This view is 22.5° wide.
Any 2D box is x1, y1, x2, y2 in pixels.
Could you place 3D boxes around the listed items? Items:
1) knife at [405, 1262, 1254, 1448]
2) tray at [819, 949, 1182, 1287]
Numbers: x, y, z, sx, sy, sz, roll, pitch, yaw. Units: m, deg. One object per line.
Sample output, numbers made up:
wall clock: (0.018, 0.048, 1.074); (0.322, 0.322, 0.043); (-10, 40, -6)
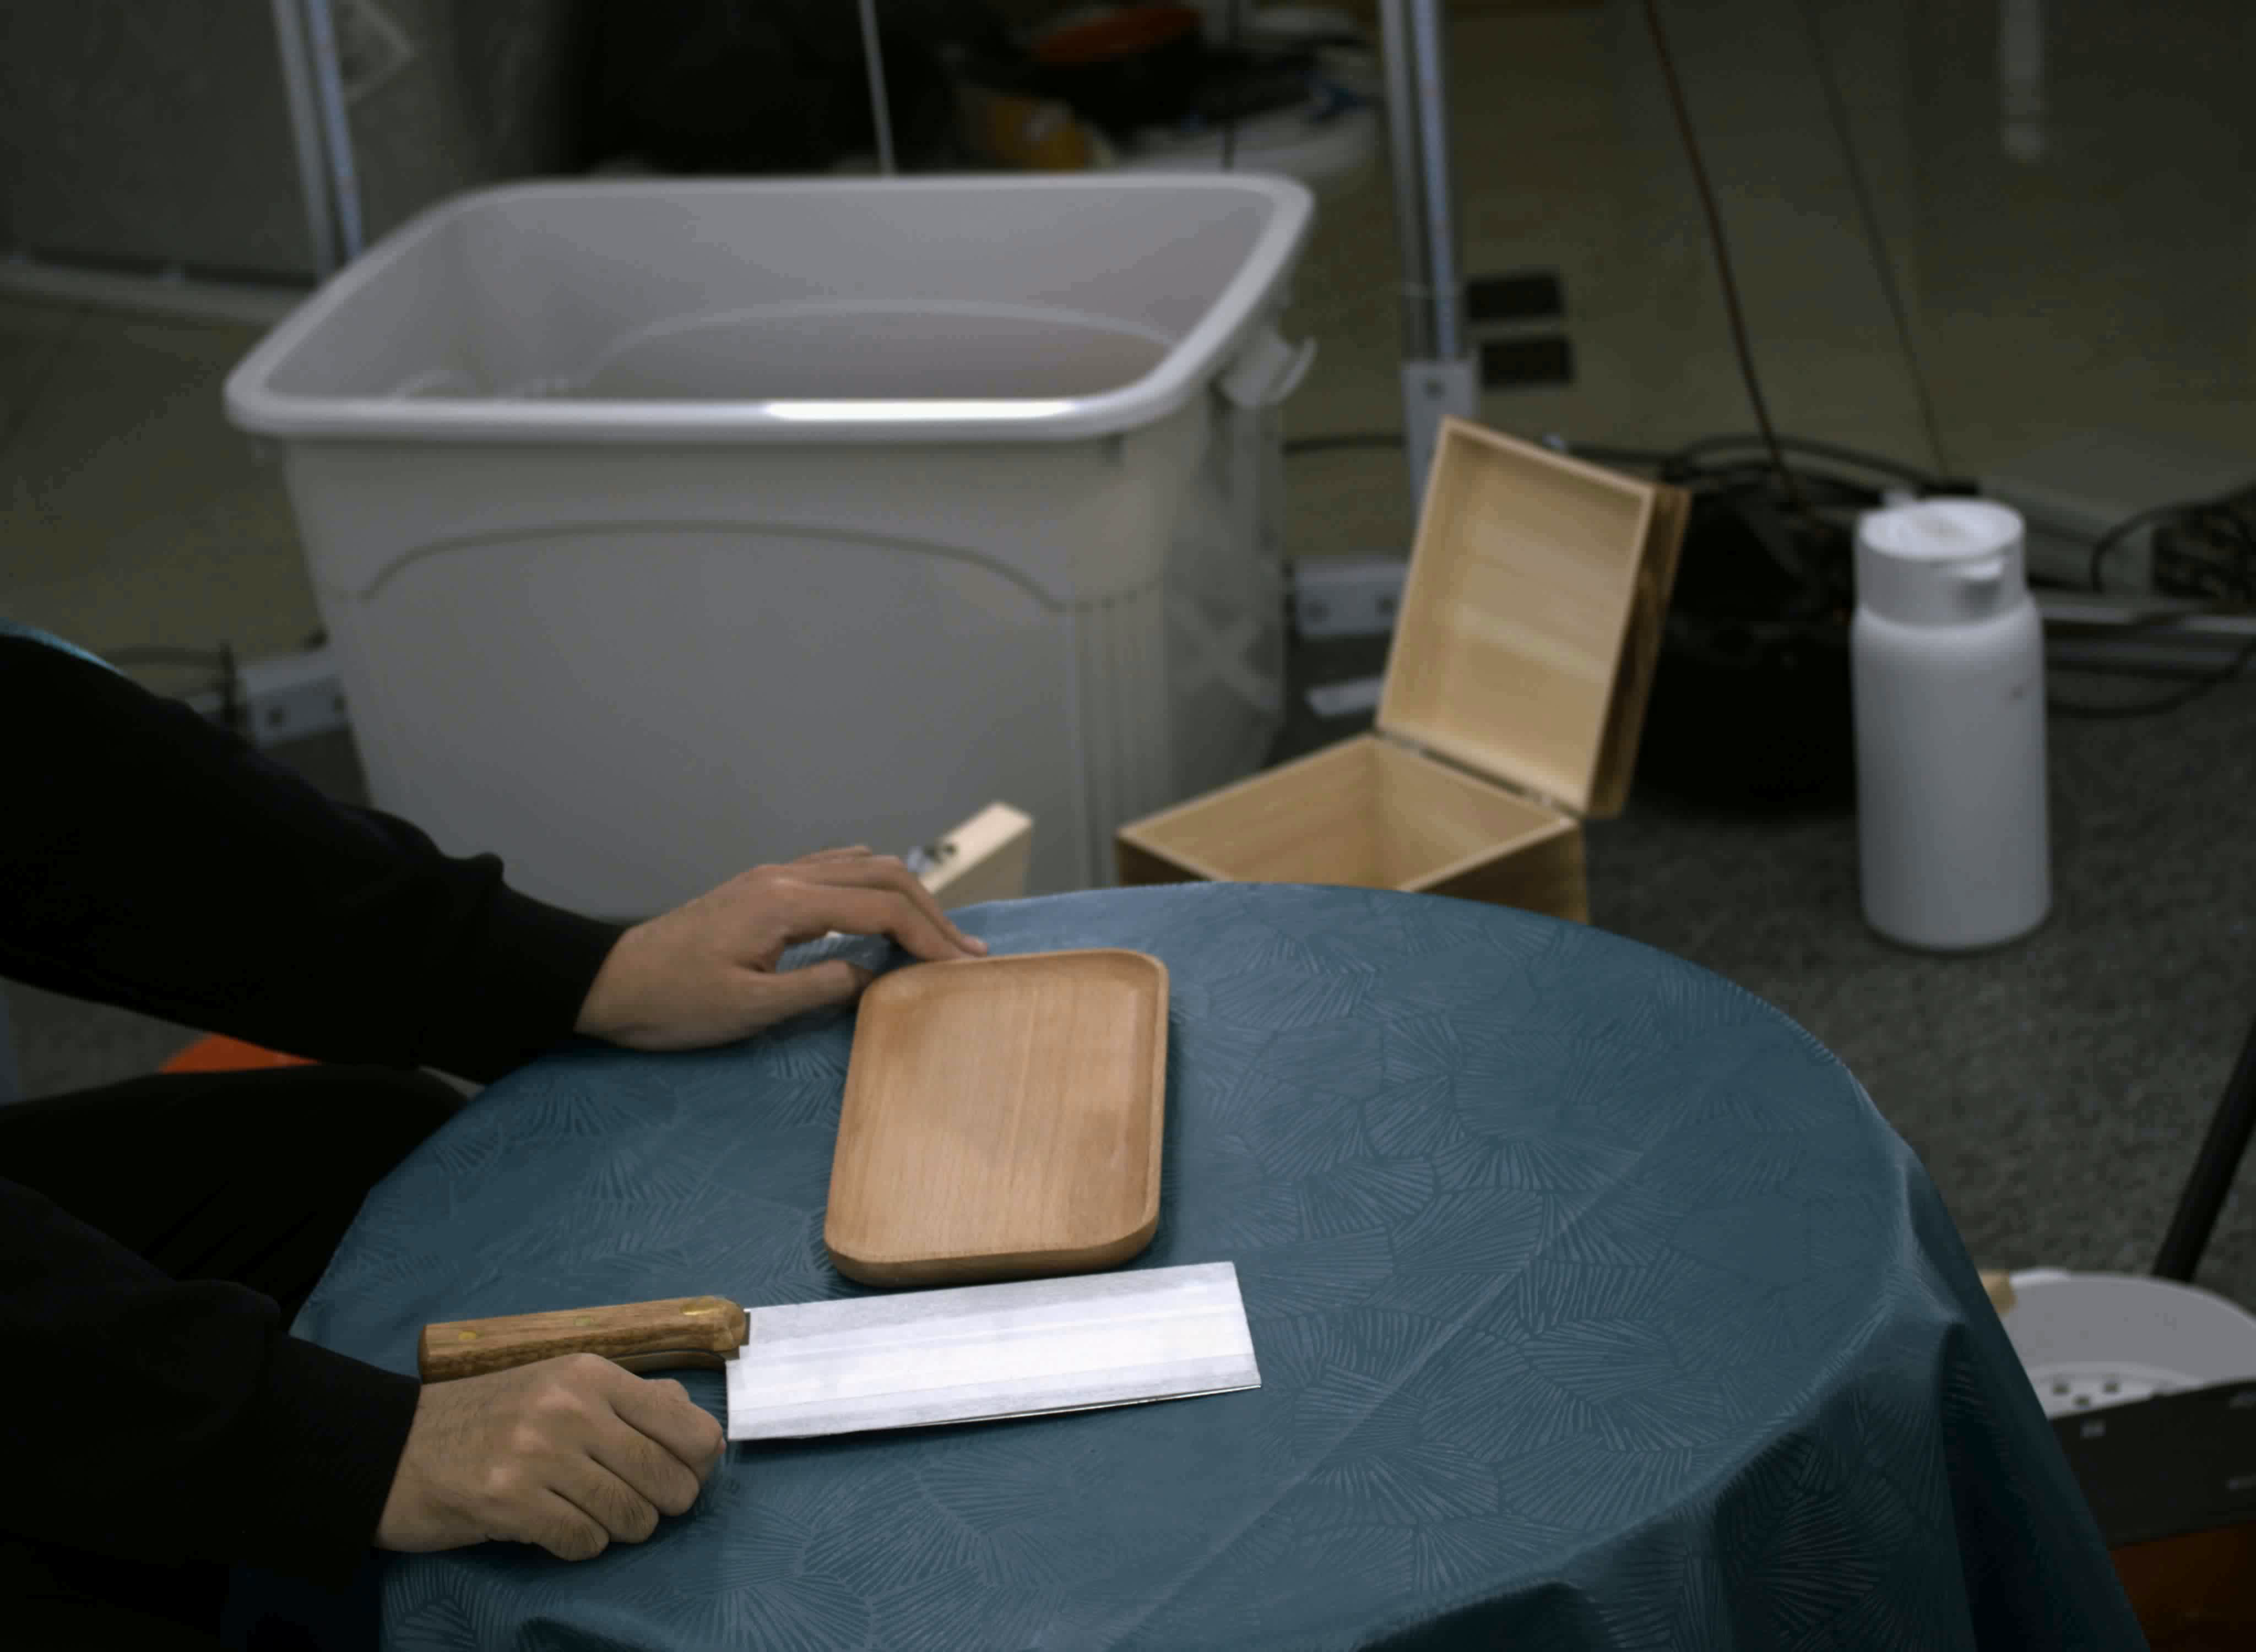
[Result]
knife: (-0.108, 0.193, 2.040); (0.305, 0.021, 0.091); (-6, 27, -3)
tray: (-0.047, 0.111, 2.200); (0.130, 0.023, 0.247); (-2, 24, 5)
